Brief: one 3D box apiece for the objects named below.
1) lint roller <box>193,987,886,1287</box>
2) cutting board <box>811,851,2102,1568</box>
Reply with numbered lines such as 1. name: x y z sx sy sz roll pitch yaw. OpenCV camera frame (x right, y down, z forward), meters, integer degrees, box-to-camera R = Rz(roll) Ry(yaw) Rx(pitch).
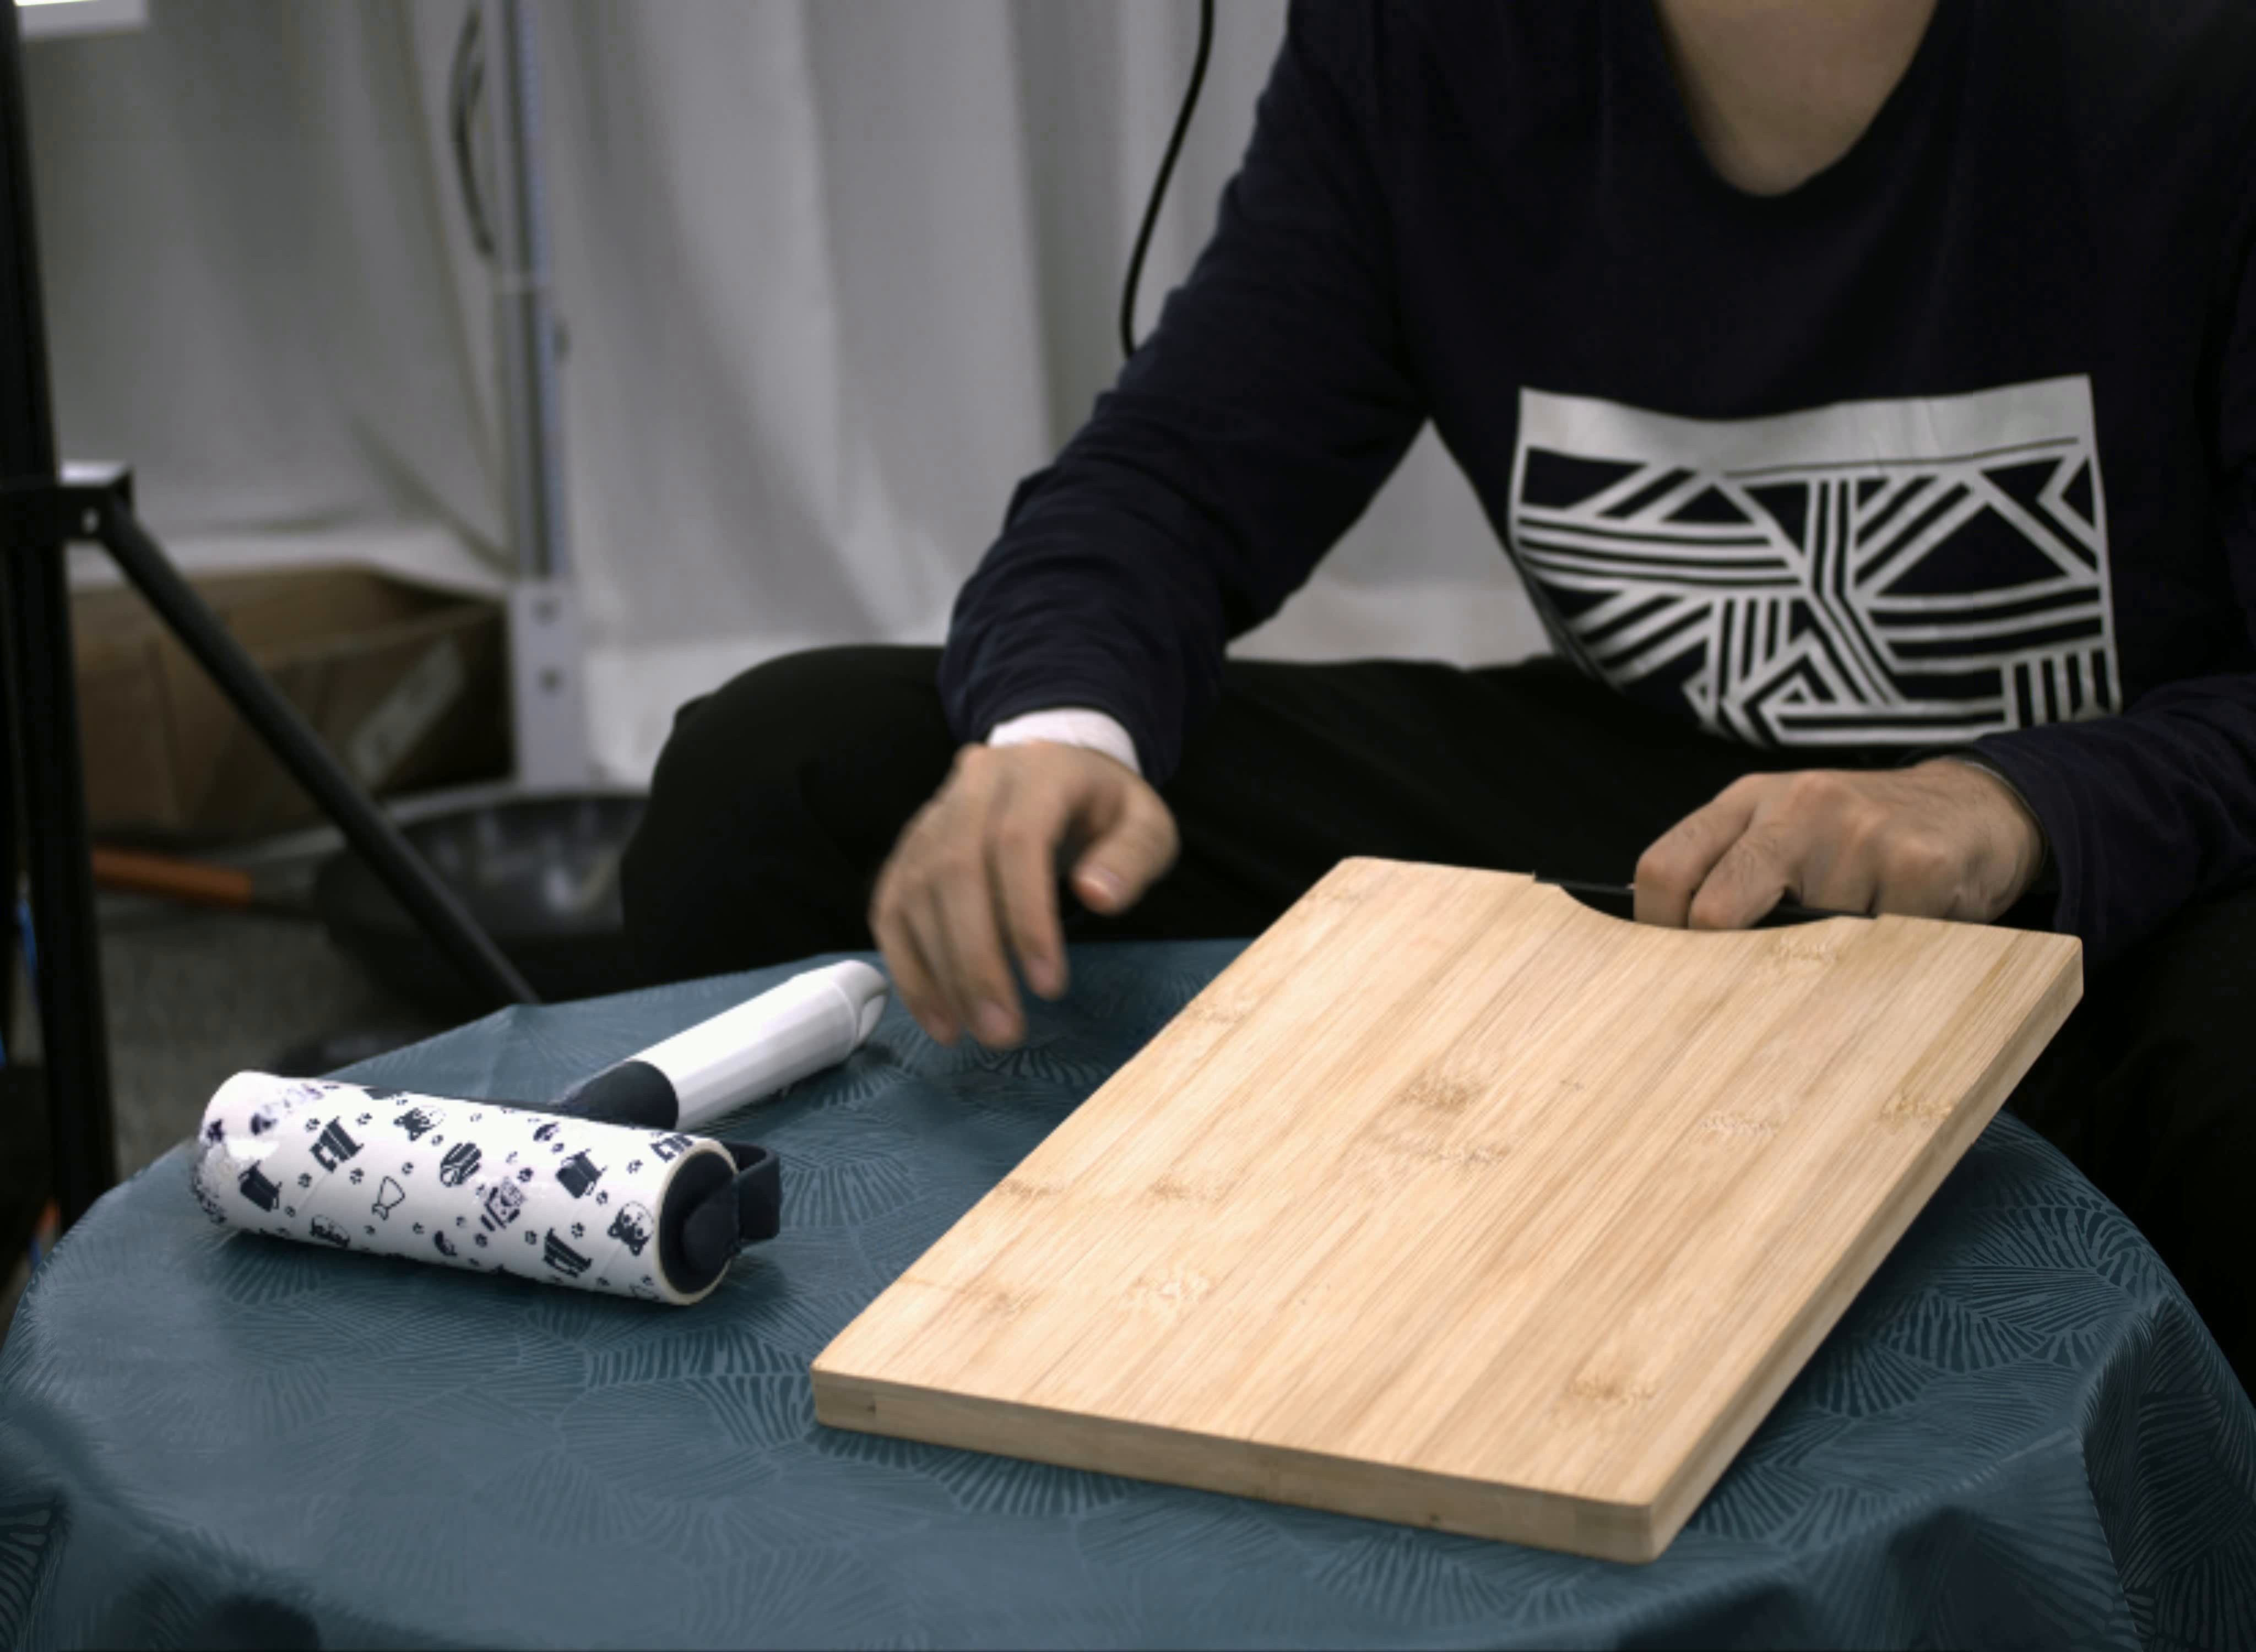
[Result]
1. lint roller: -0.143 0.079 1.612 0.179 0.050 0.243 5 15 28
2. cutting board: 0.100 0.095 1.474 0.255 0.023 0.344 6 26 27
